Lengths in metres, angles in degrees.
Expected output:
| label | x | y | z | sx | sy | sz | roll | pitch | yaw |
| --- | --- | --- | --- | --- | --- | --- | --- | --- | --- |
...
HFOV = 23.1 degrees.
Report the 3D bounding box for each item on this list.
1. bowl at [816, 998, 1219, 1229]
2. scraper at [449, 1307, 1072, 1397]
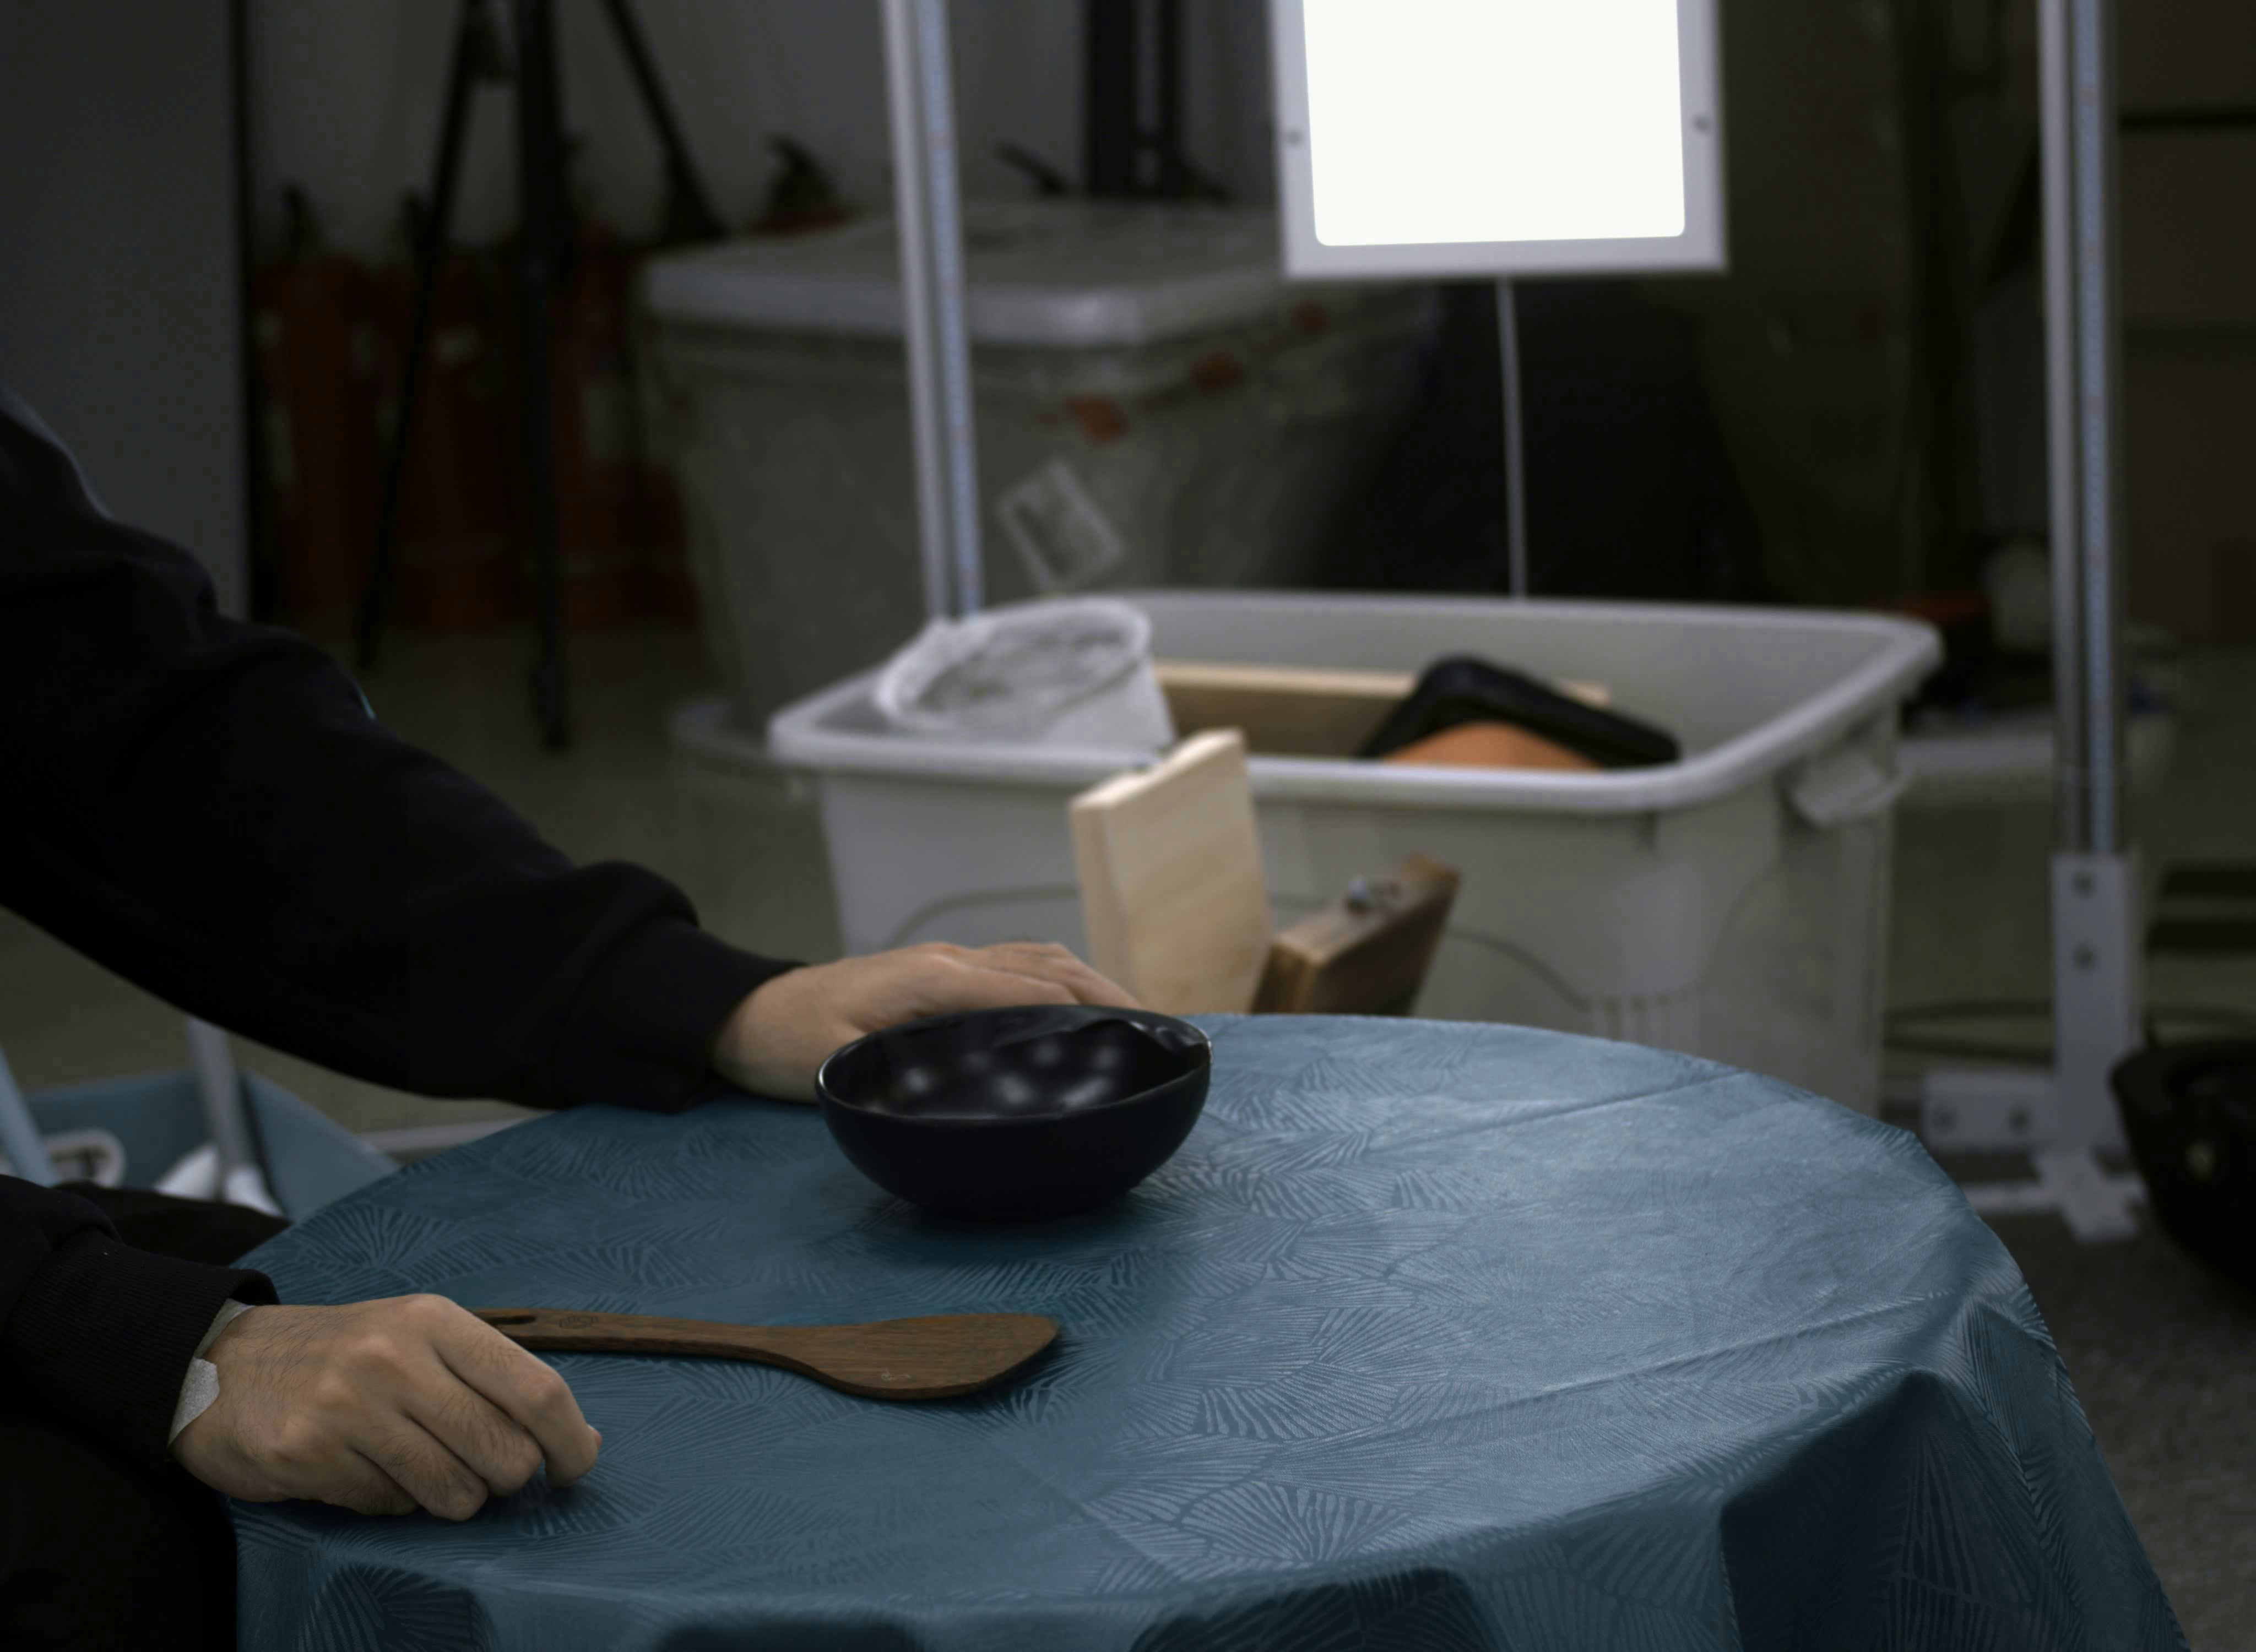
| label | x | y | z | sx | sy | sz | roll | pitch | yaw |
| --- | --- | --- | --- | --- | --- | --- | --- | --- | --- |
| bowl | -0.036 | 0.104 | 1.903 | 0.140 | 0.050 | 0.140 | -6 | 16 | 0 |
| scraper | -0.122 | 0.165 | 1.767 | 0.215 | 0.011 | 0.074 | 1 | 14 | 25 |
